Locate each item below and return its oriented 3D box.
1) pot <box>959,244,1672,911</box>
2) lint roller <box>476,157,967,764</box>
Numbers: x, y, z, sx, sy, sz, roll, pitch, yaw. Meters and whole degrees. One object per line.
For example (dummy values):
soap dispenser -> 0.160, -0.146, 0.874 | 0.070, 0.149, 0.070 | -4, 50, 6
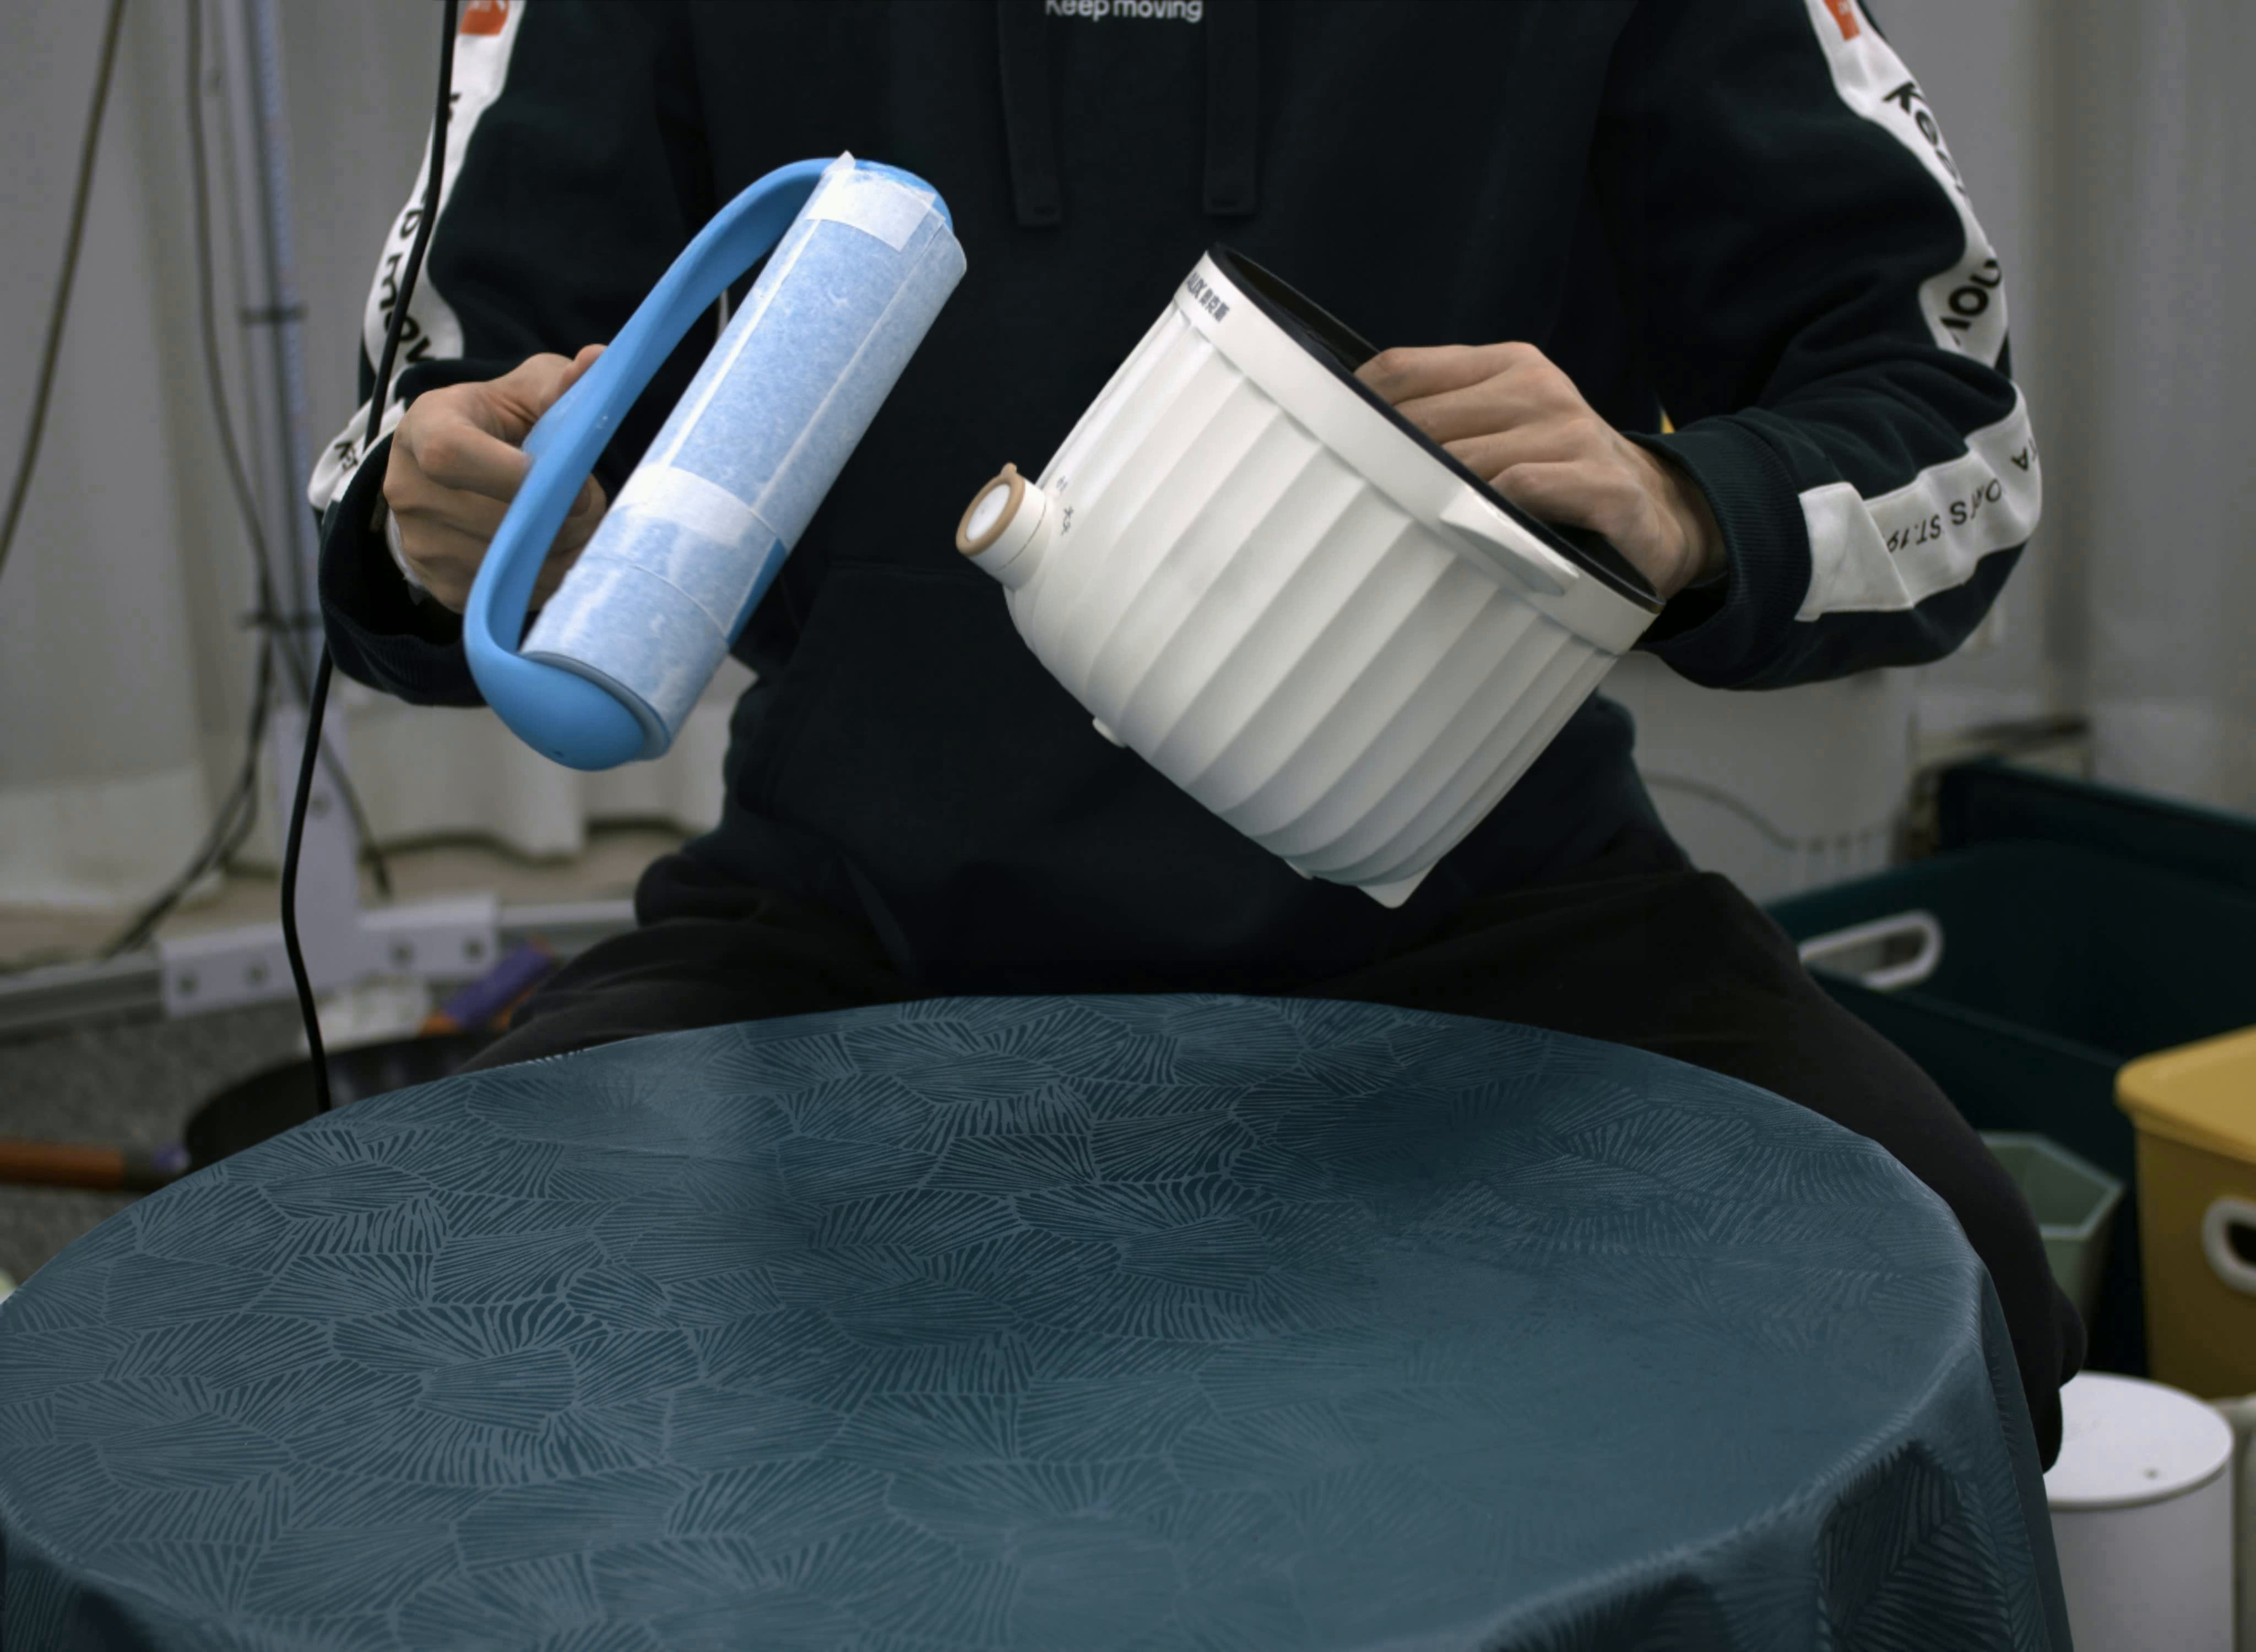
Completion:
pot -> 0.053, -0.075, 1.713 | 0.188, 0.142, 0.243 | 38, 7, -25
lint roller -> -0.155, -0.106, 1.709 | 0.180, 0.067, 0.231 | -10, 44, 47
